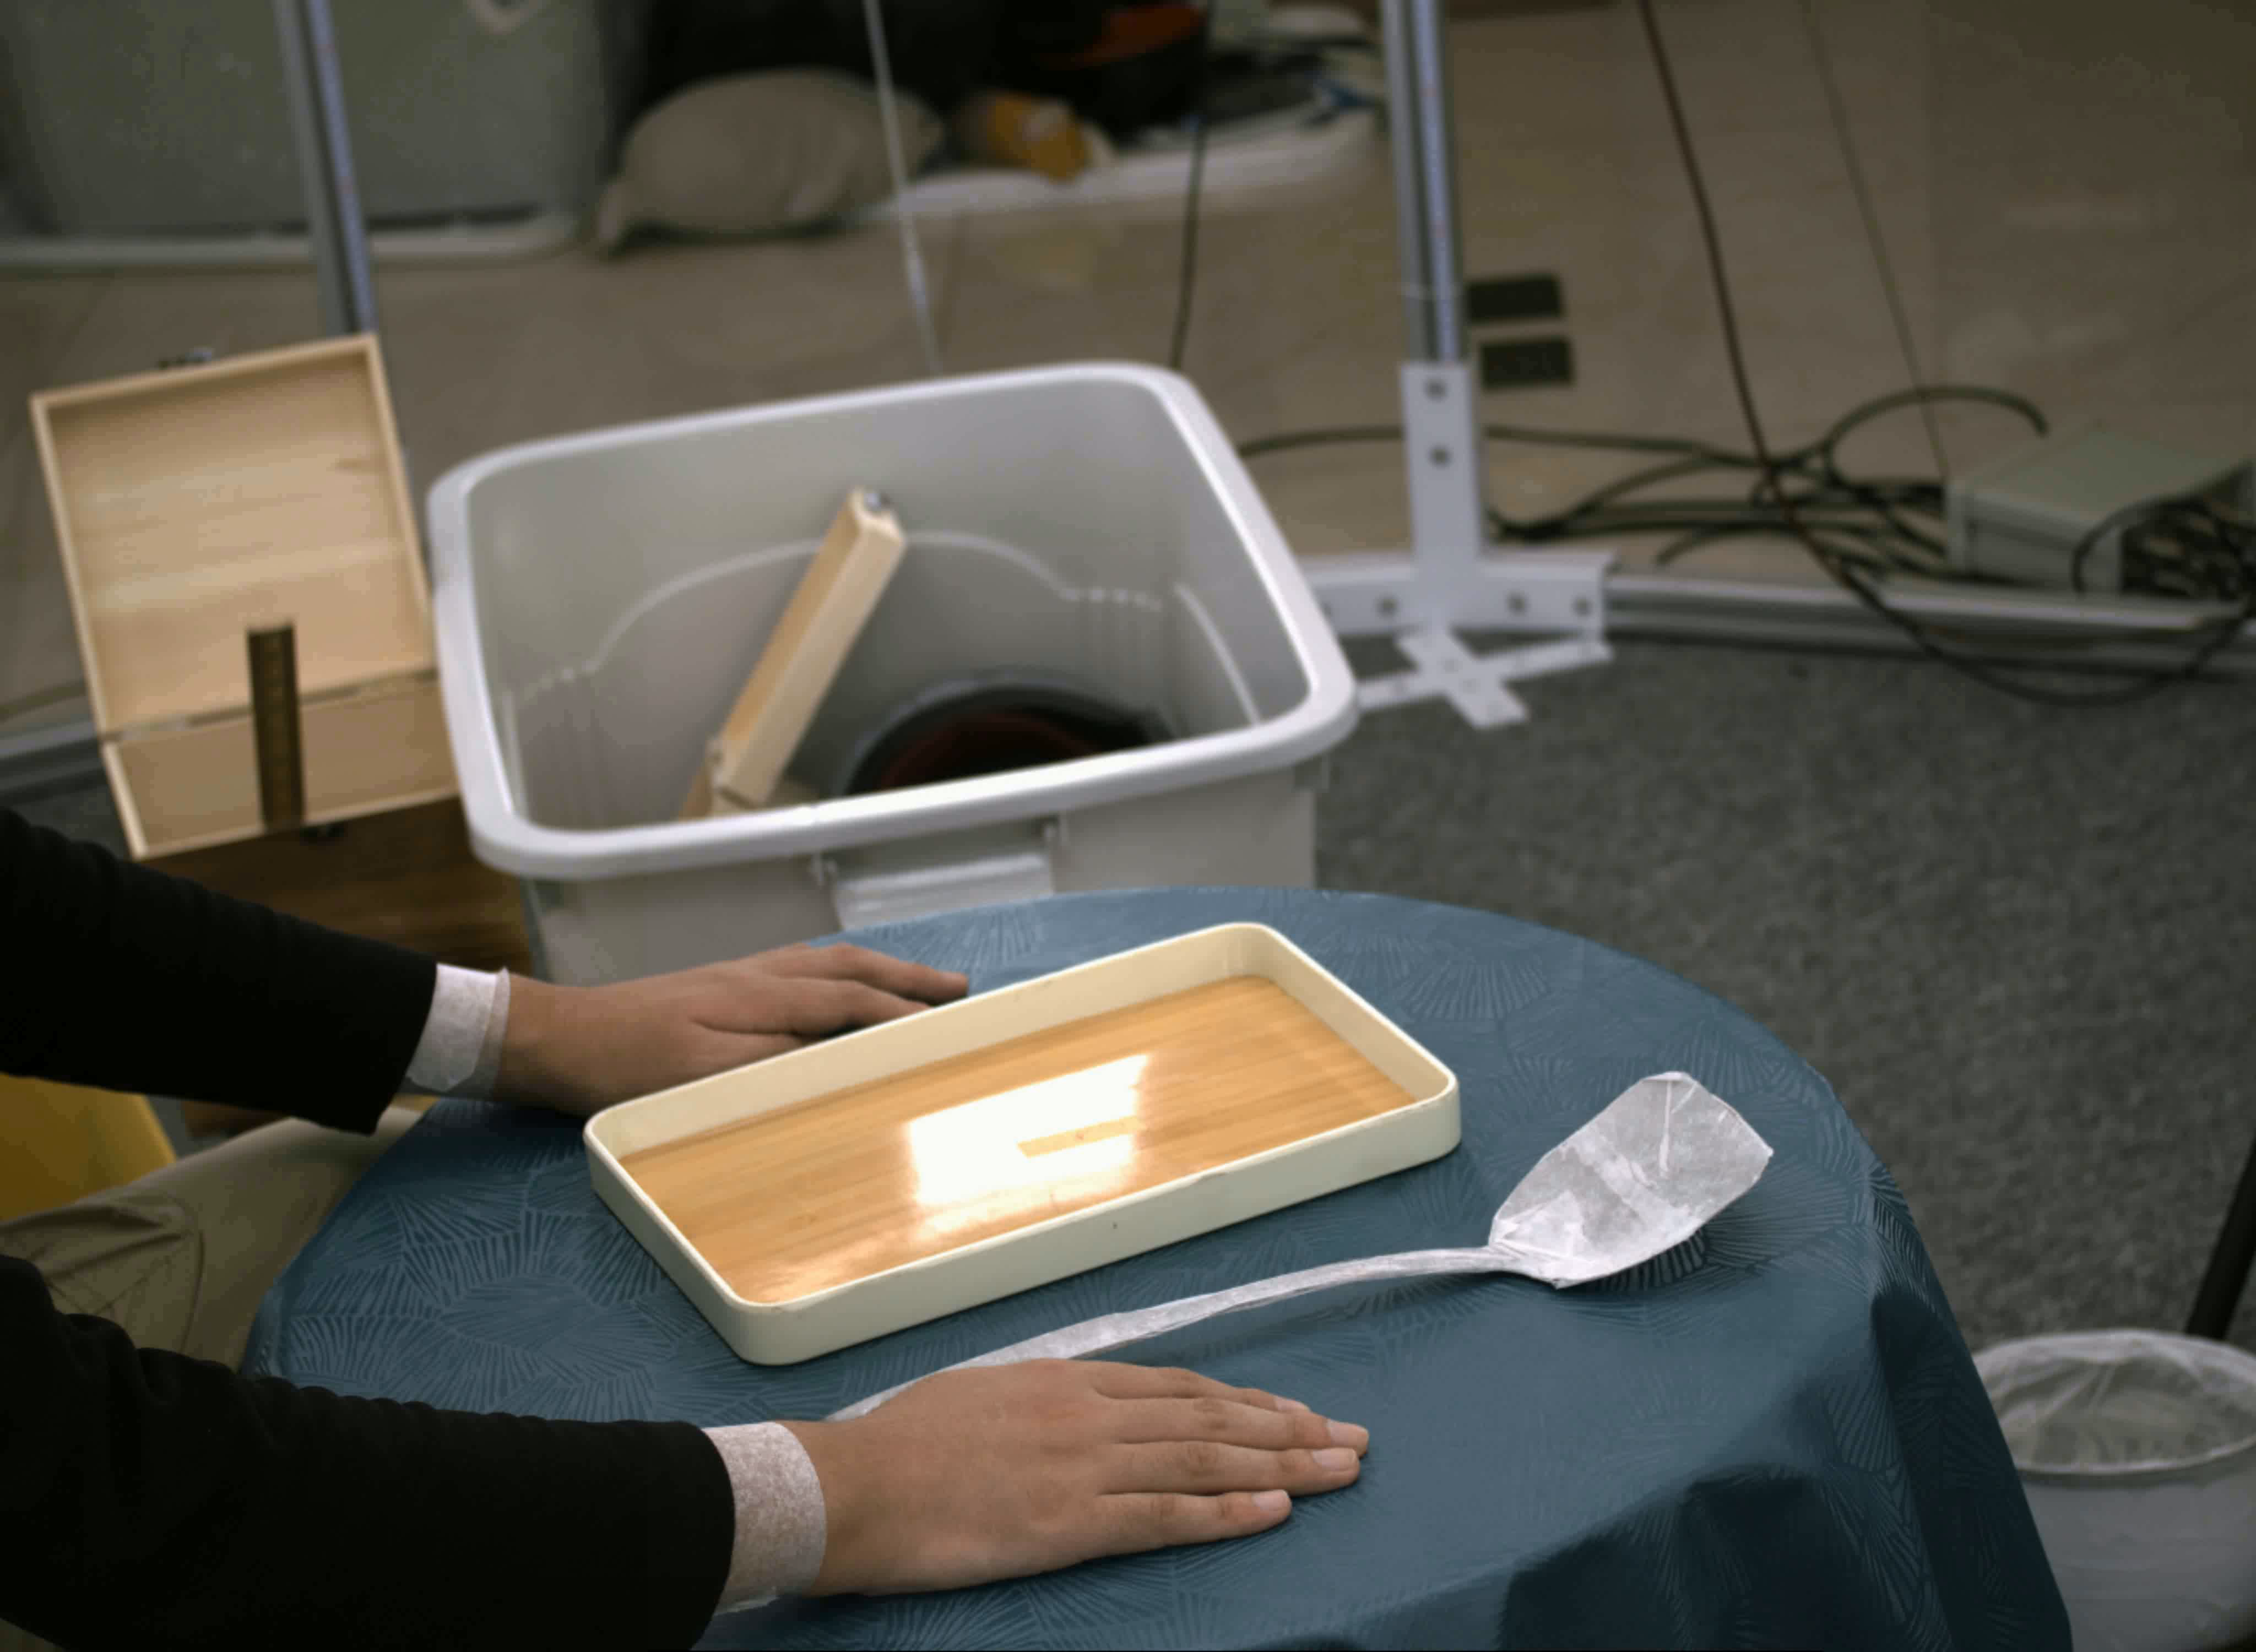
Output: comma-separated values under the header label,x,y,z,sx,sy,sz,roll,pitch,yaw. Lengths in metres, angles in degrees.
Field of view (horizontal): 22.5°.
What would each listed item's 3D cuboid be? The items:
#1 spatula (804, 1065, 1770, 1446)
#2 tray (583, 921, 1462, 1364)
label,x,y,z,sx,sy,sz,roll,pitch,yaw
spatula,0.057,0.161,2.040,0.364,0.045,0.097,-13,27,-15
tray,-0.041,0.118,2.172,0.299,0.028,0.189,-16,27,-19
